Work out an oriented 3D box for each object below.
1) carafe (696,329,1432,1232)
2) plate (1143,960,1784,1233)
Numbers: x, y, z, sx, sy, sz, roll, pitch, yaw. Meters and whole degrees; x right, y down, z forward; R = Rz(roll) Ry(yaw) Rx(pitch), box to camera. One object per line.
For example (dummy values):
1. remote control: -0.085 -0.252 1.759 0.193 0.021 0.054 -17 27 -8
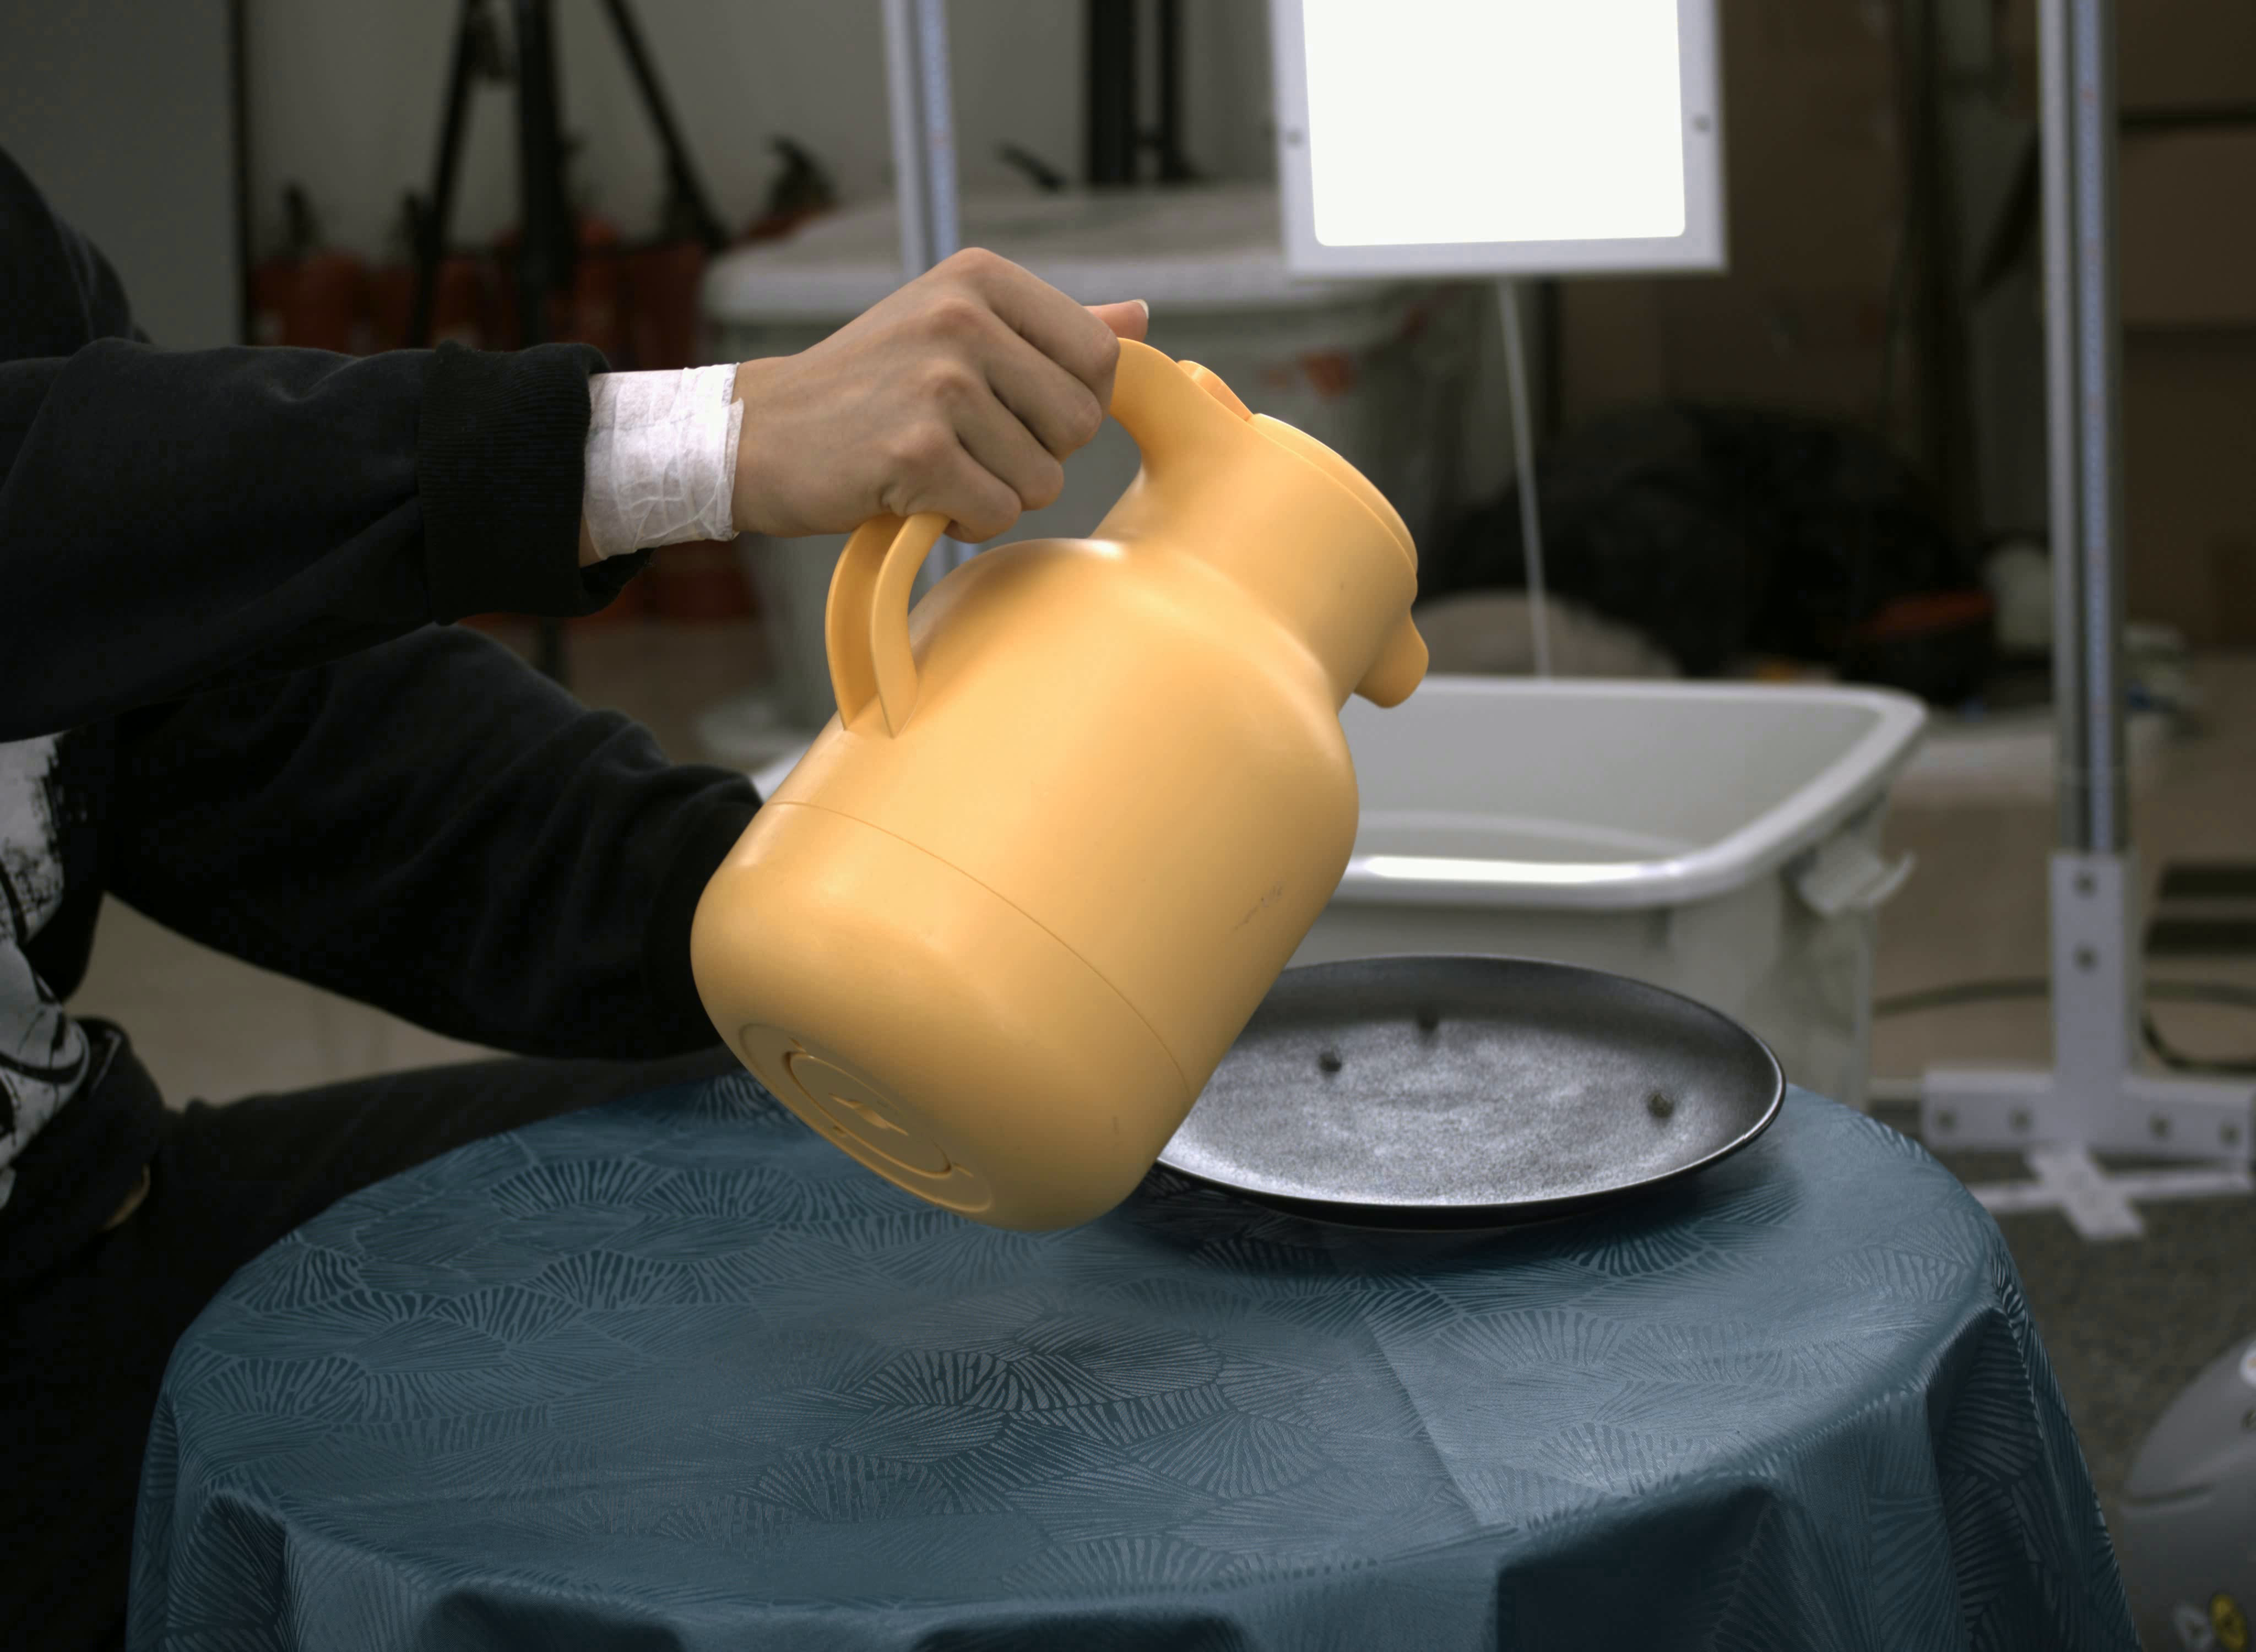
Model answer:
1. carafe: -0.022 -0.024 1.717 0.167 0.200 0.258 7 57 54
2. plate: 0.105 0.096 1.901 0.243 0.023 0.244 -2 18 -1
